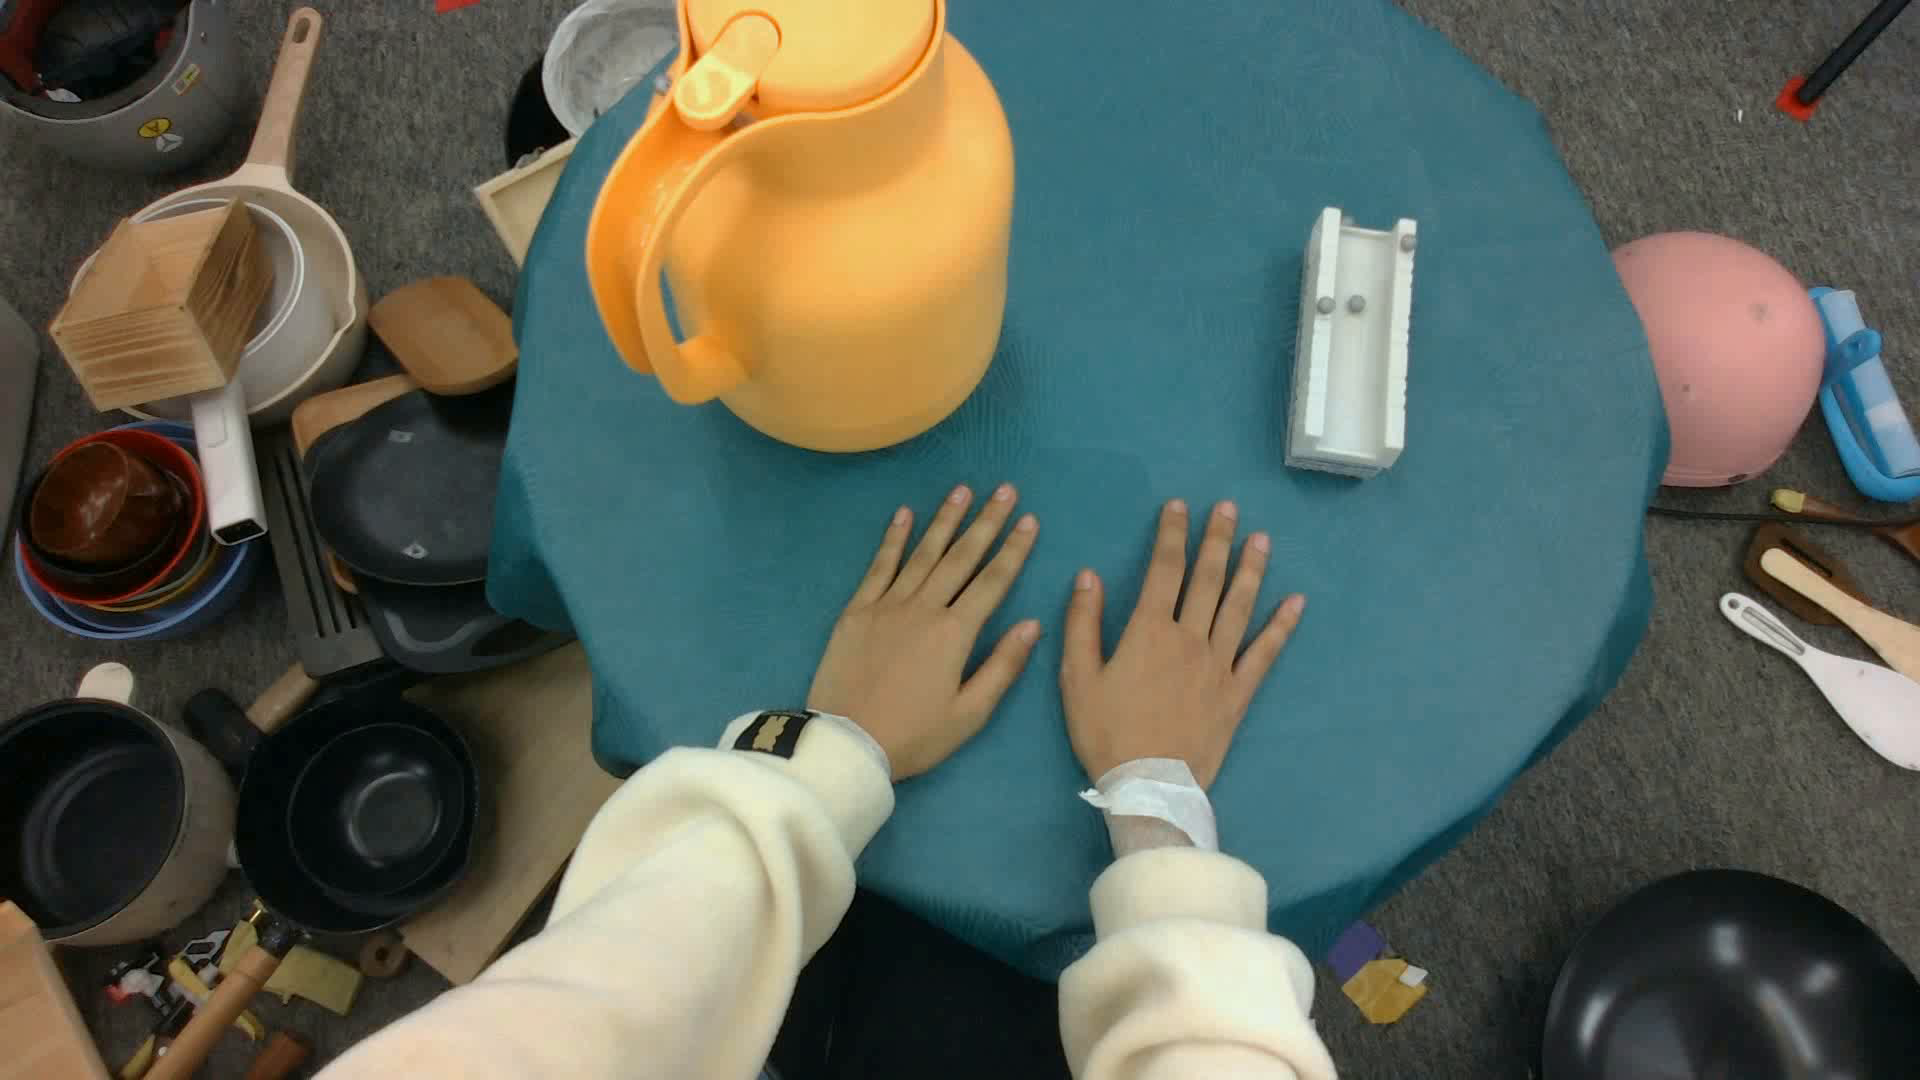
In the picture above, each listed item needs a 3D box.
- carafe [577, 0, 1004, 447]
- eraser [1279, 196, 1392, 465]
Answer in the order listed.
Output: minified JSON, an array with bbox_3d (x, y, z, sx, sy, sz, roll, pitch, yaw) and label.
[{"bbox_3d":[-0.075,-0.145,0.600,0.163,0.259,0.203,37,71,13],"label":"carafe"},{"bbox_3d":[0.194,-0.108,0.717,0.050,0.046,0.135,8,68,-3],"label":"eraser"}]
